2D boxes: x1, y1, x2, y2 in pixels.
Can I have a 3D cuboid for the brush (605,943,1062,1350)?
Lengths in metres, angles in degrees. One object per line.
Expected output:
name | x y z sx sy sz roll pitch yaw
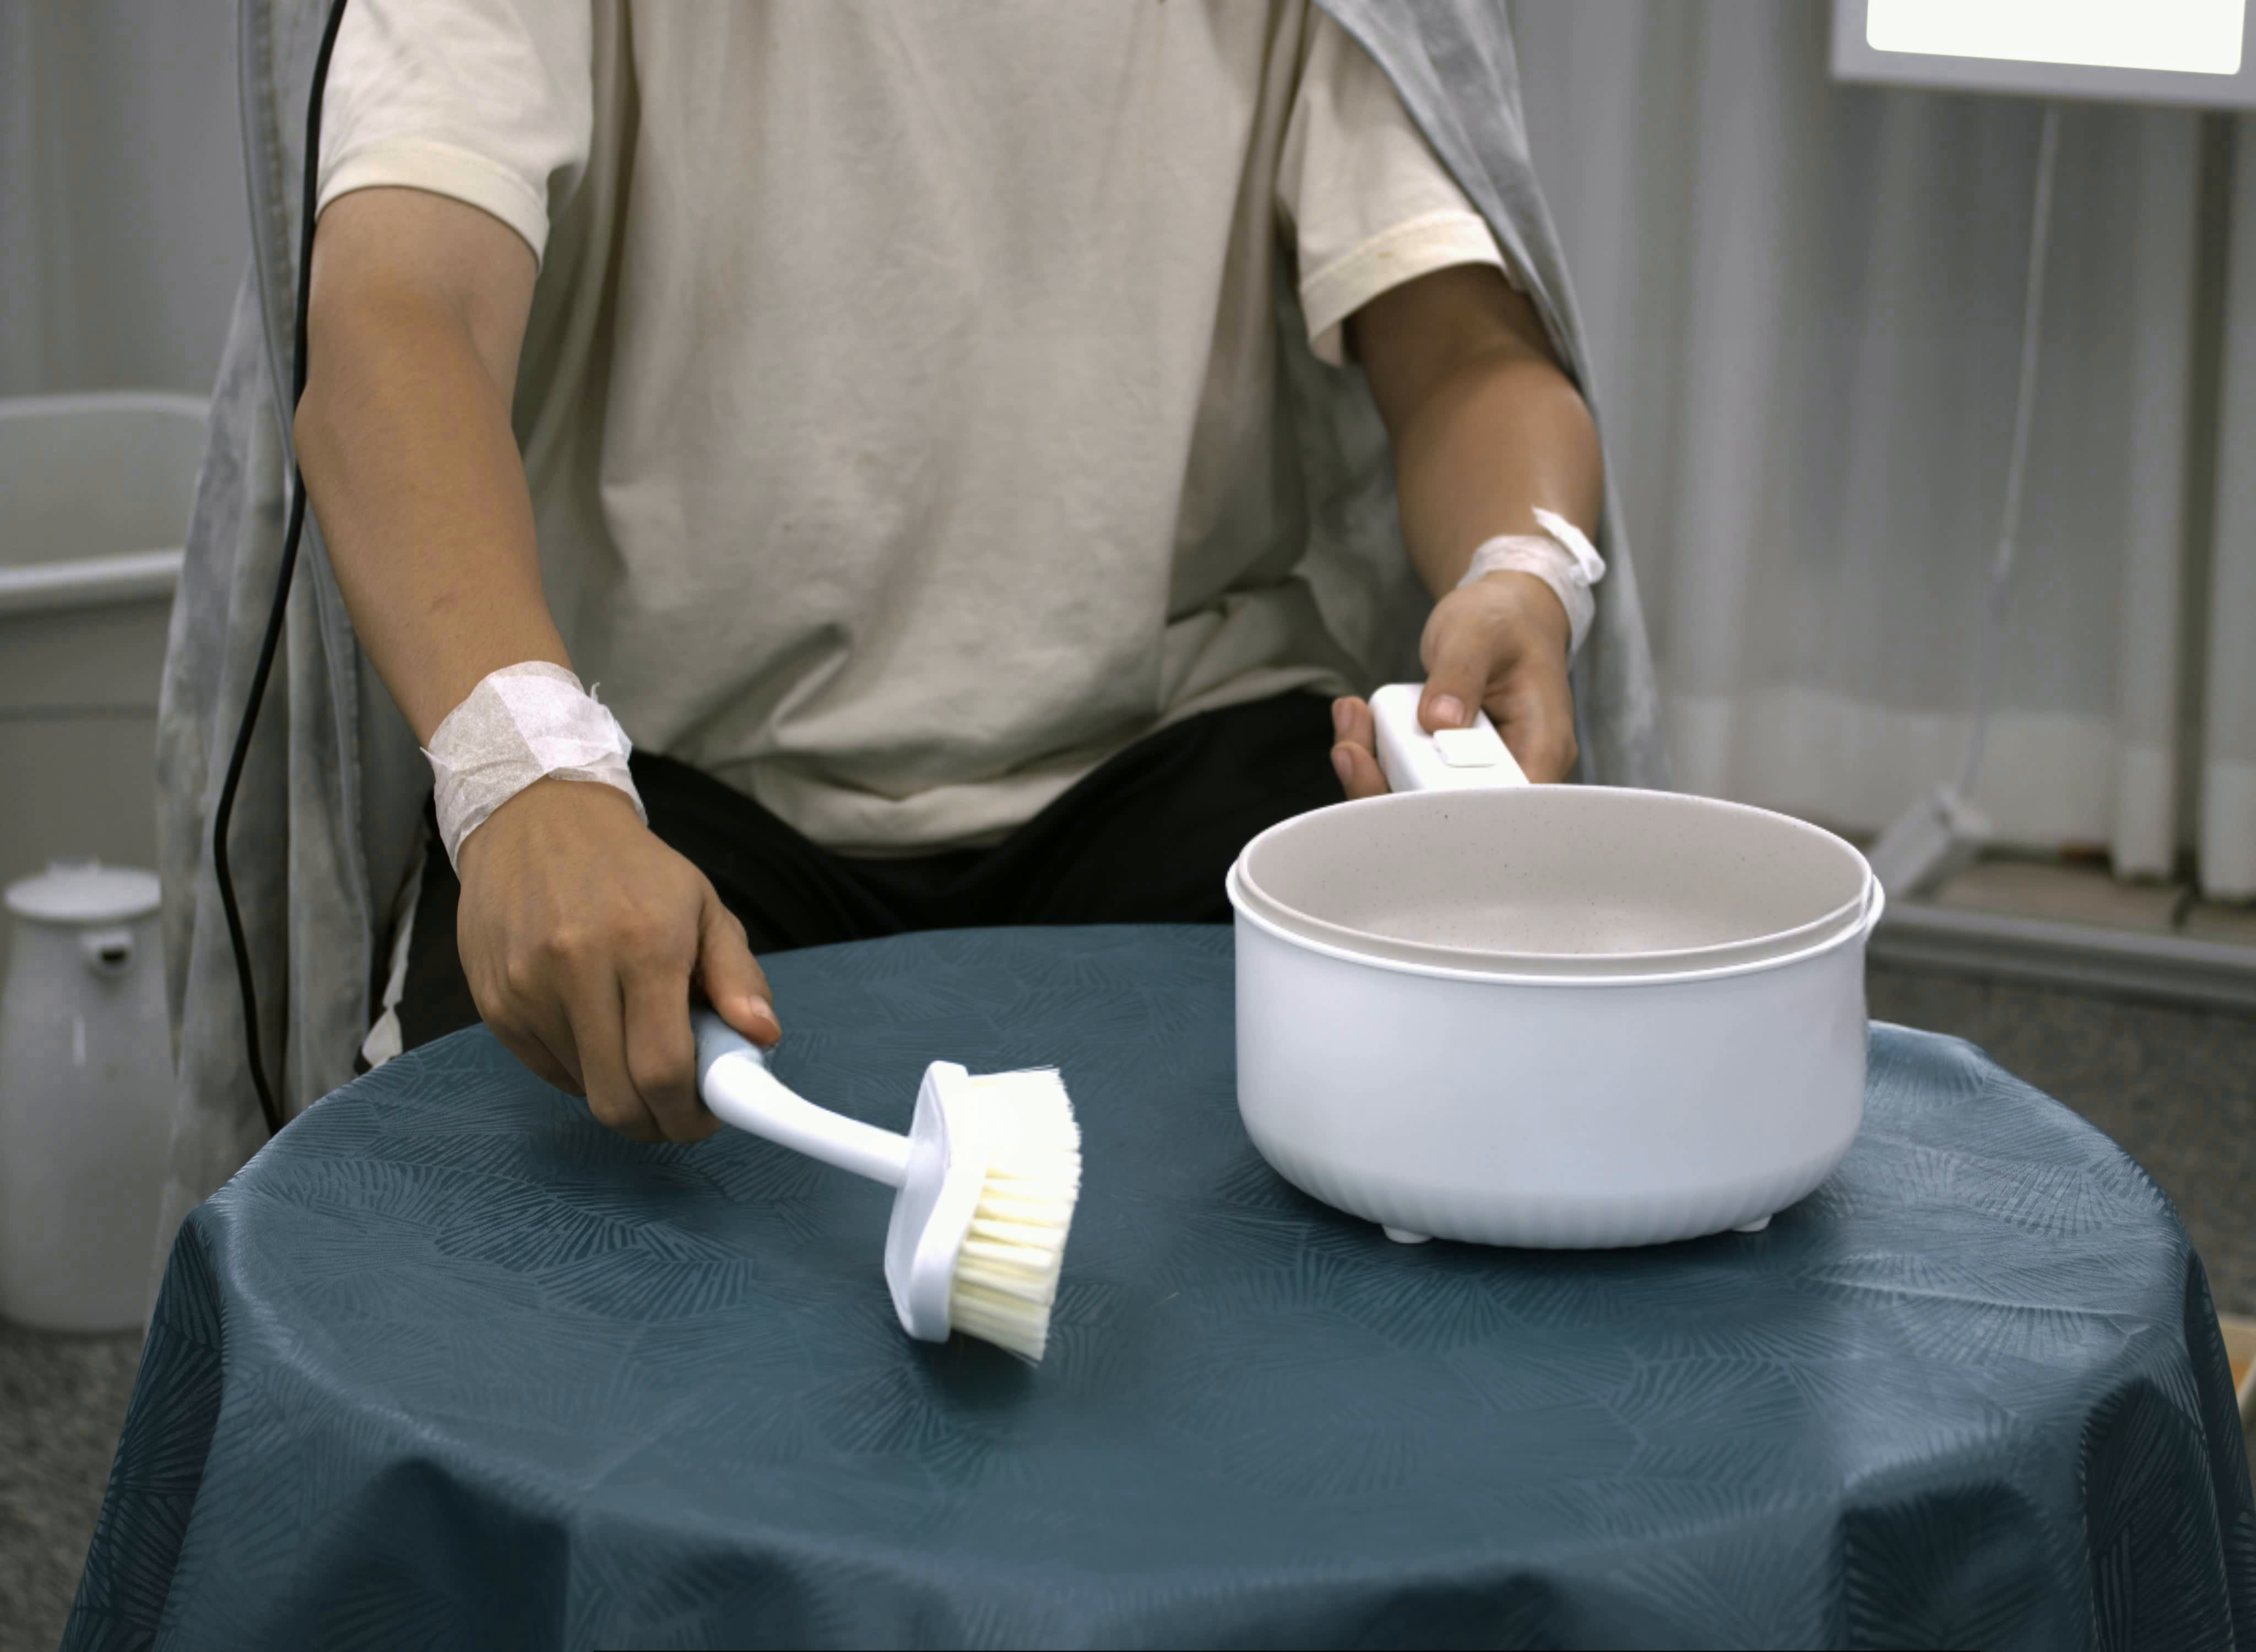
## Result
brush | -0.074 0.085 1.587 0.083 0.085 0.322 -42 23 -5

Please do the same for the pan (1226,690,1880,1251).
pan | 0.122 0.042 1.701 0.201 0.103 0.352 -2 15 -6
